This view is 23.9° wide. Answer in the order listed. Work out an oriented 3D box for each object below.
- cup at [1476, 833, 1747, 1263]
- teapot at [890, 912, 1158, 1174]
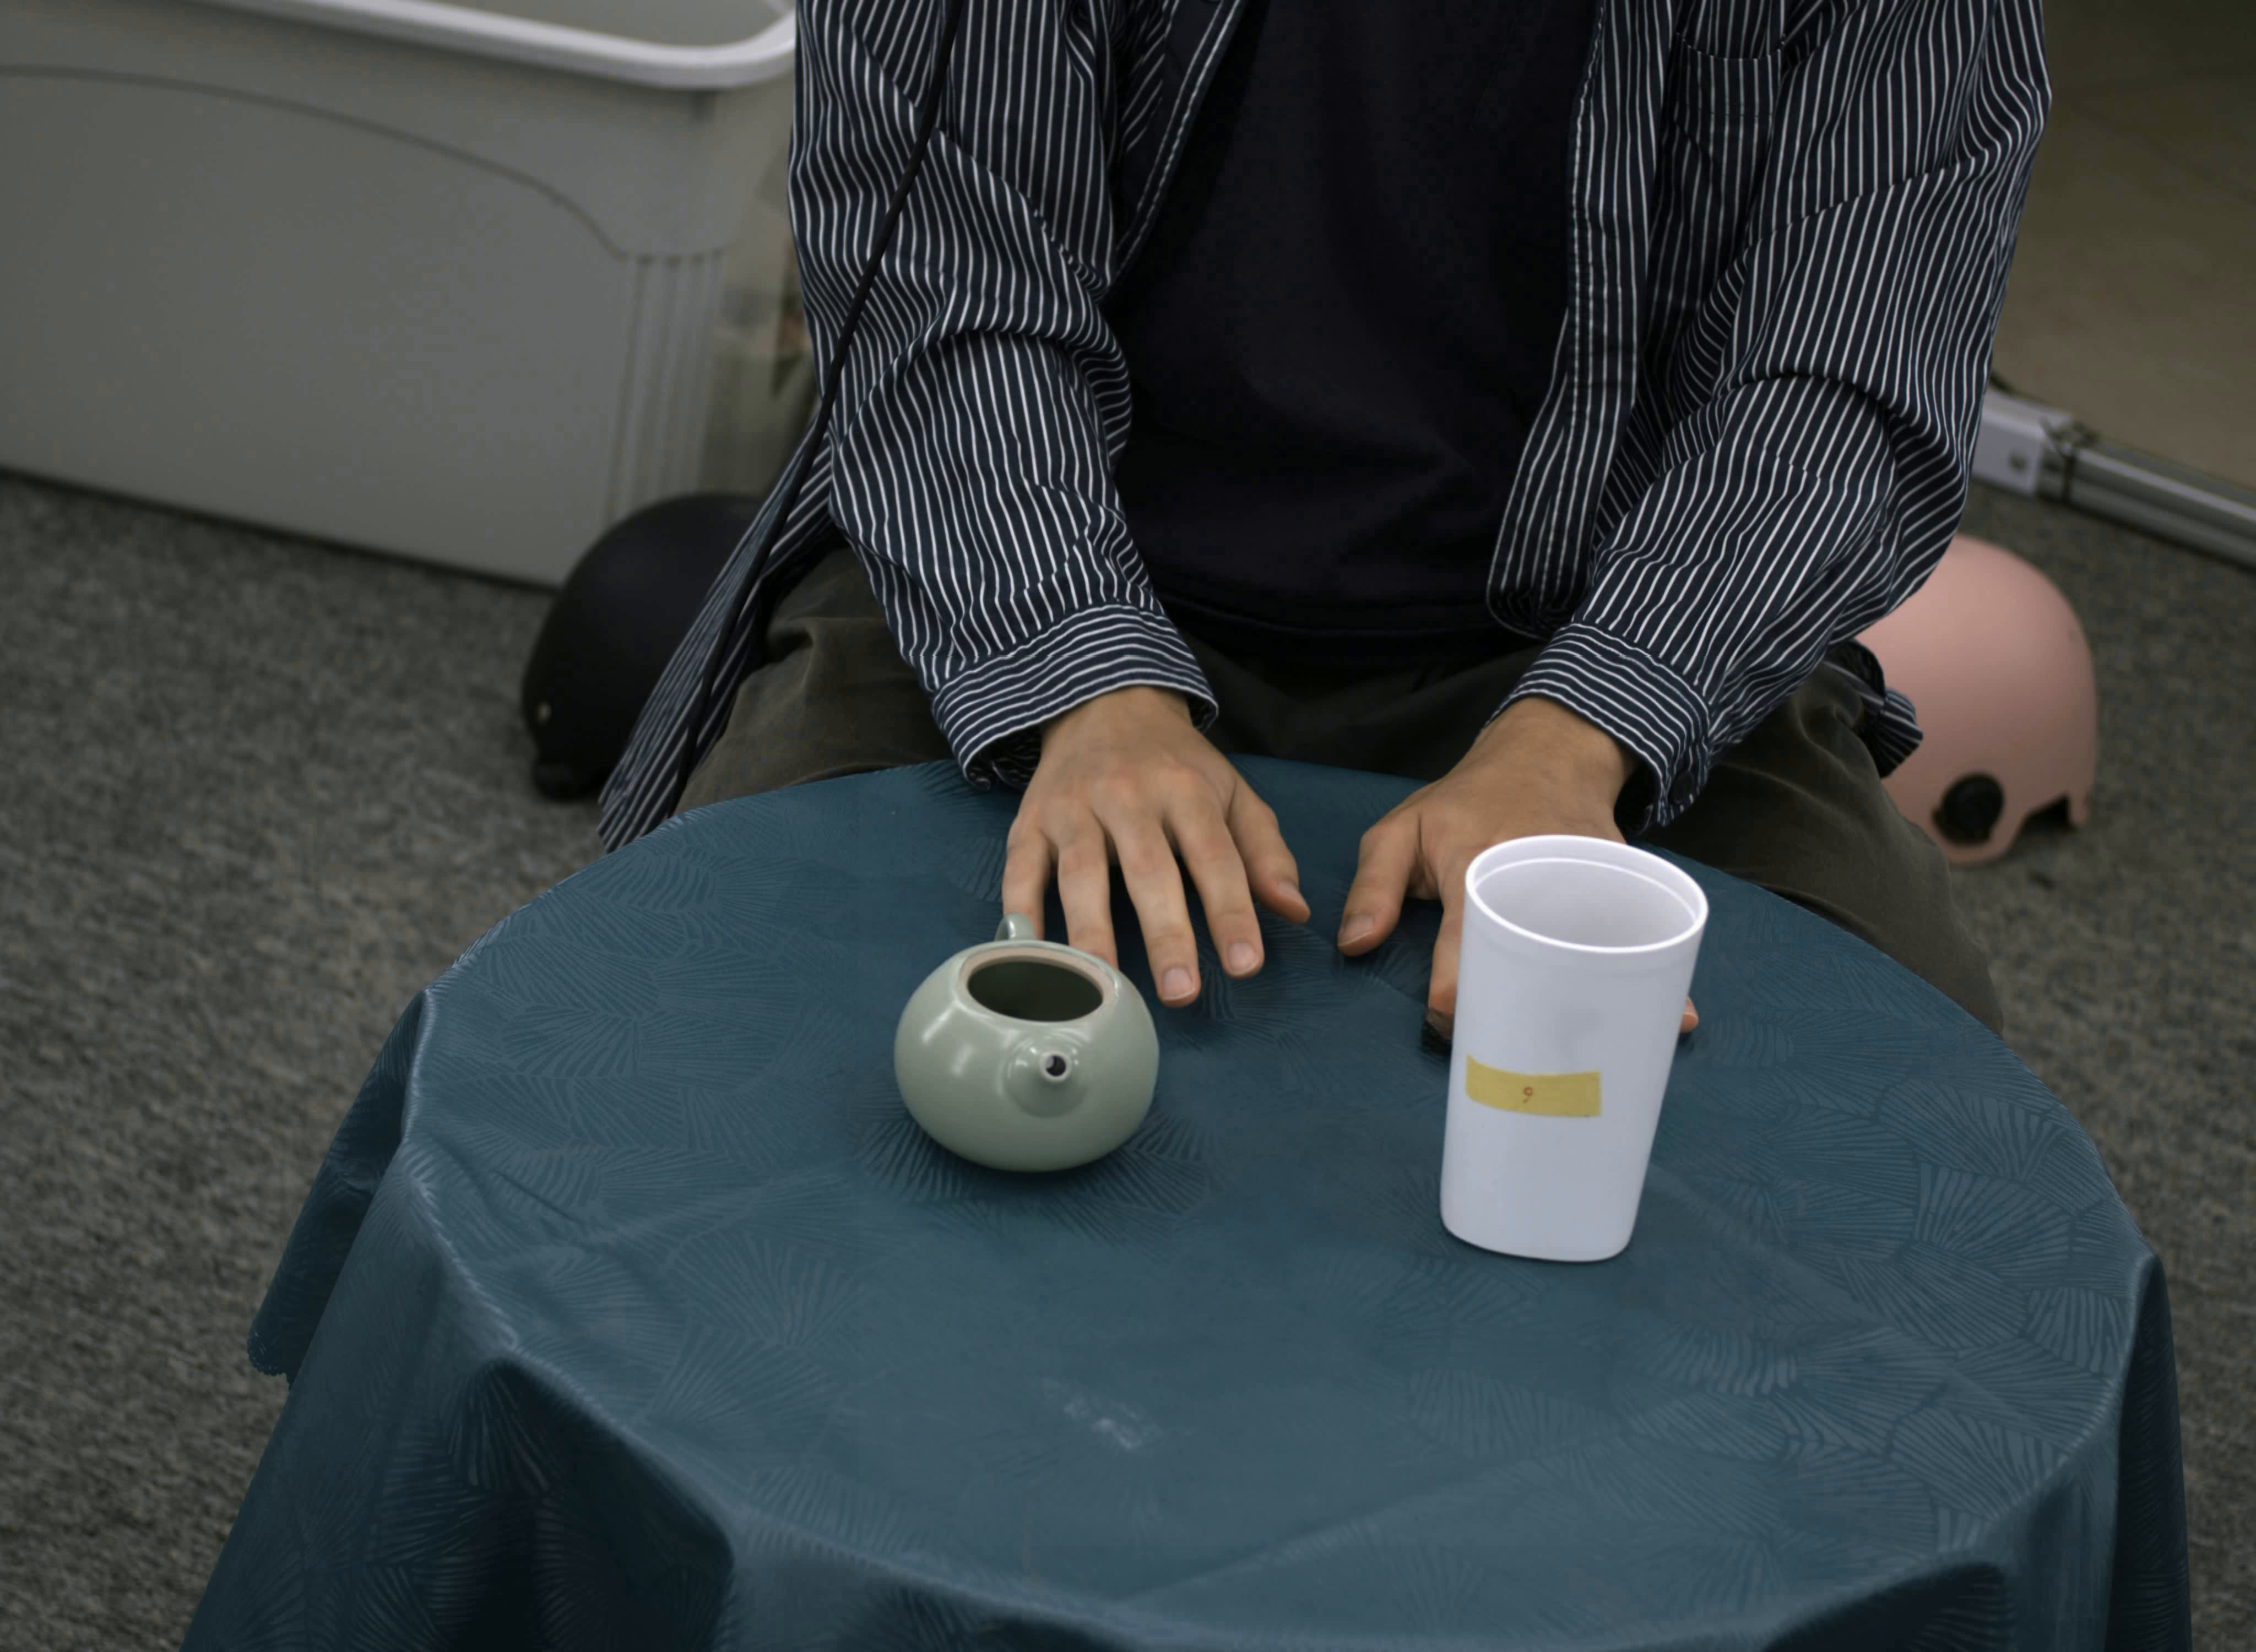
[{"bbox_3d":[0.158,0.077,1.782,0.081,0.125,0.082,5,27,-3],"label":"cup"},{"bbox_3d":[-0.036,0.075,1.823,0.091,0.061,0.129,2,26,-4],"label":"teapot"}]
